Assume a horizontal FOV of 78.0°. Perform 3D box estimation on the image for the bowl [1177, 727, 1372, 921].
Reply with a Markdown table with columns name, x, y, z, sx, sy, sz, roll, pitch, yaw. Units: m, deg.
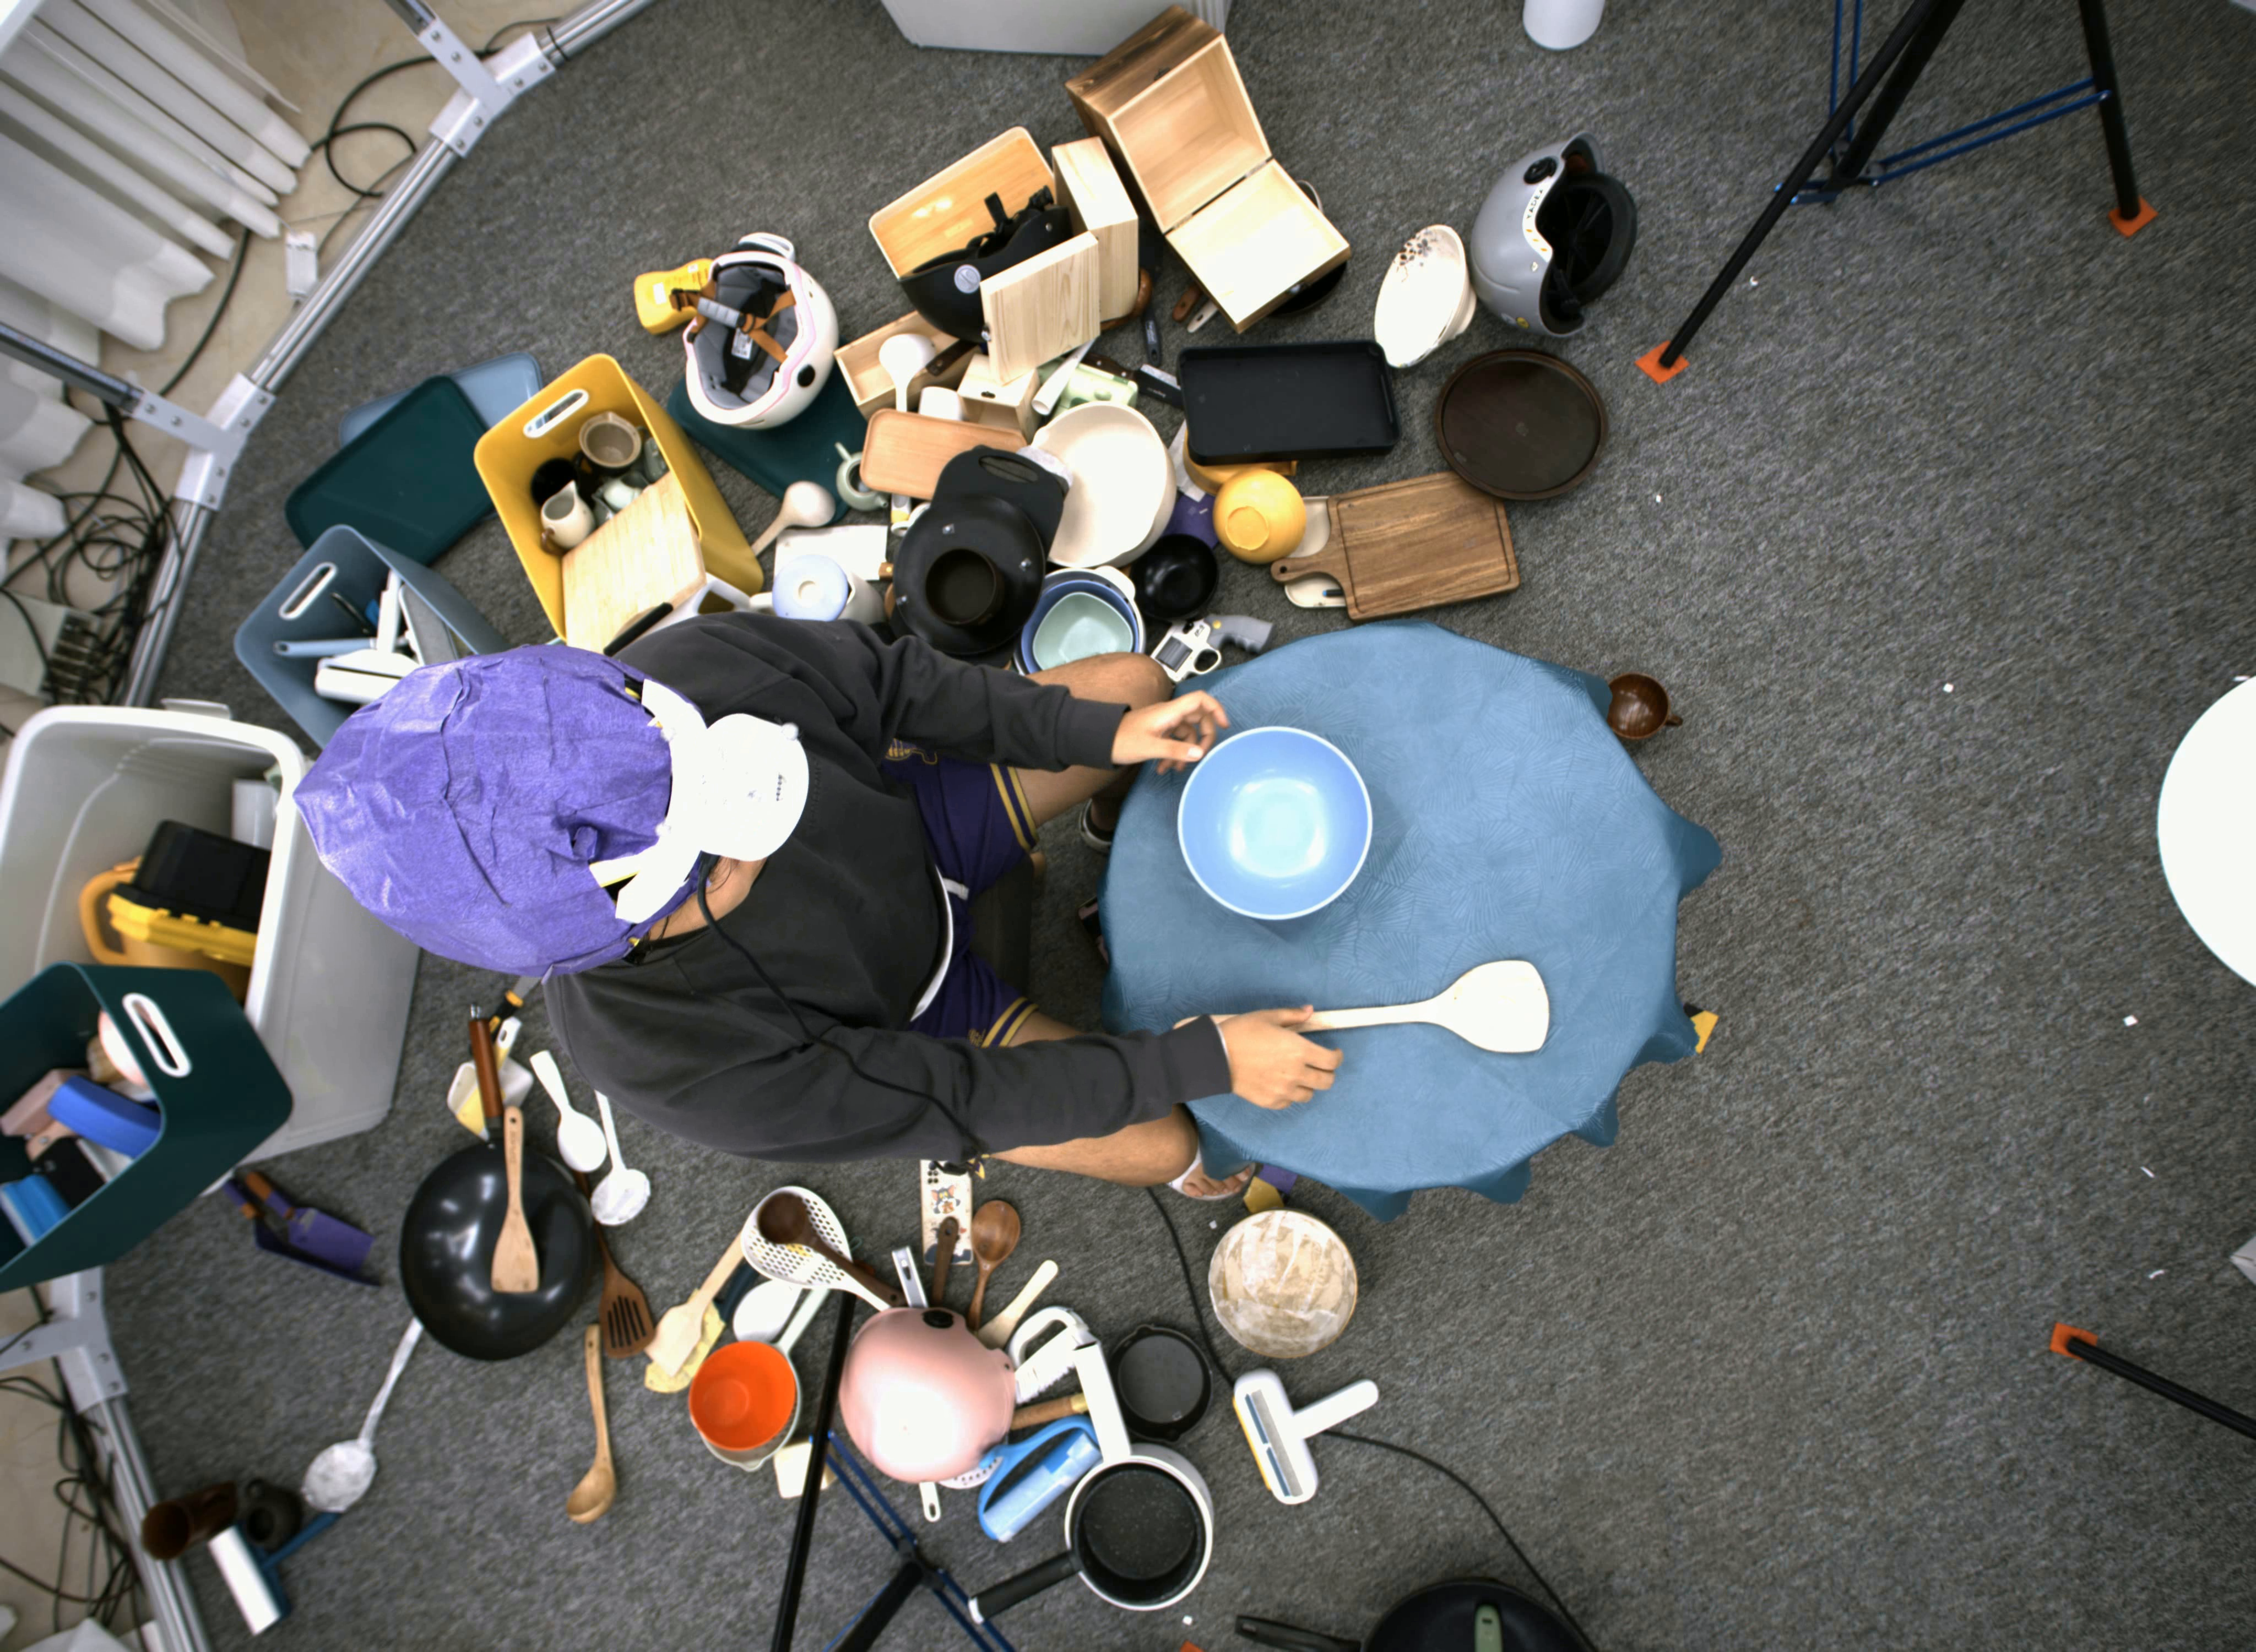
| name | x | y | z | sx | sy | sz | roll | pitch | yaw |
| --- | --- | --- | --- | --- | --- | --- | --- | --- | --- |
| bowl | 0.153 | 0.000 | 1.439 | 0.197 | 0.095 | 0.196 | 0 | 89 | 9 |

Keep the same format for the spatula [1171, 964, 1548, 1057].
| name | x | y | z | sx | sy | sz | roll | pitch | yaw |
| --- | --- | --- | --- | --- | --- | --- | --- | --- | --- |
| spatula | 0.238 | 0.206 | 1.449 | 0.392 | 0.018 | 0.095 | -6 | 84 | 10 |
